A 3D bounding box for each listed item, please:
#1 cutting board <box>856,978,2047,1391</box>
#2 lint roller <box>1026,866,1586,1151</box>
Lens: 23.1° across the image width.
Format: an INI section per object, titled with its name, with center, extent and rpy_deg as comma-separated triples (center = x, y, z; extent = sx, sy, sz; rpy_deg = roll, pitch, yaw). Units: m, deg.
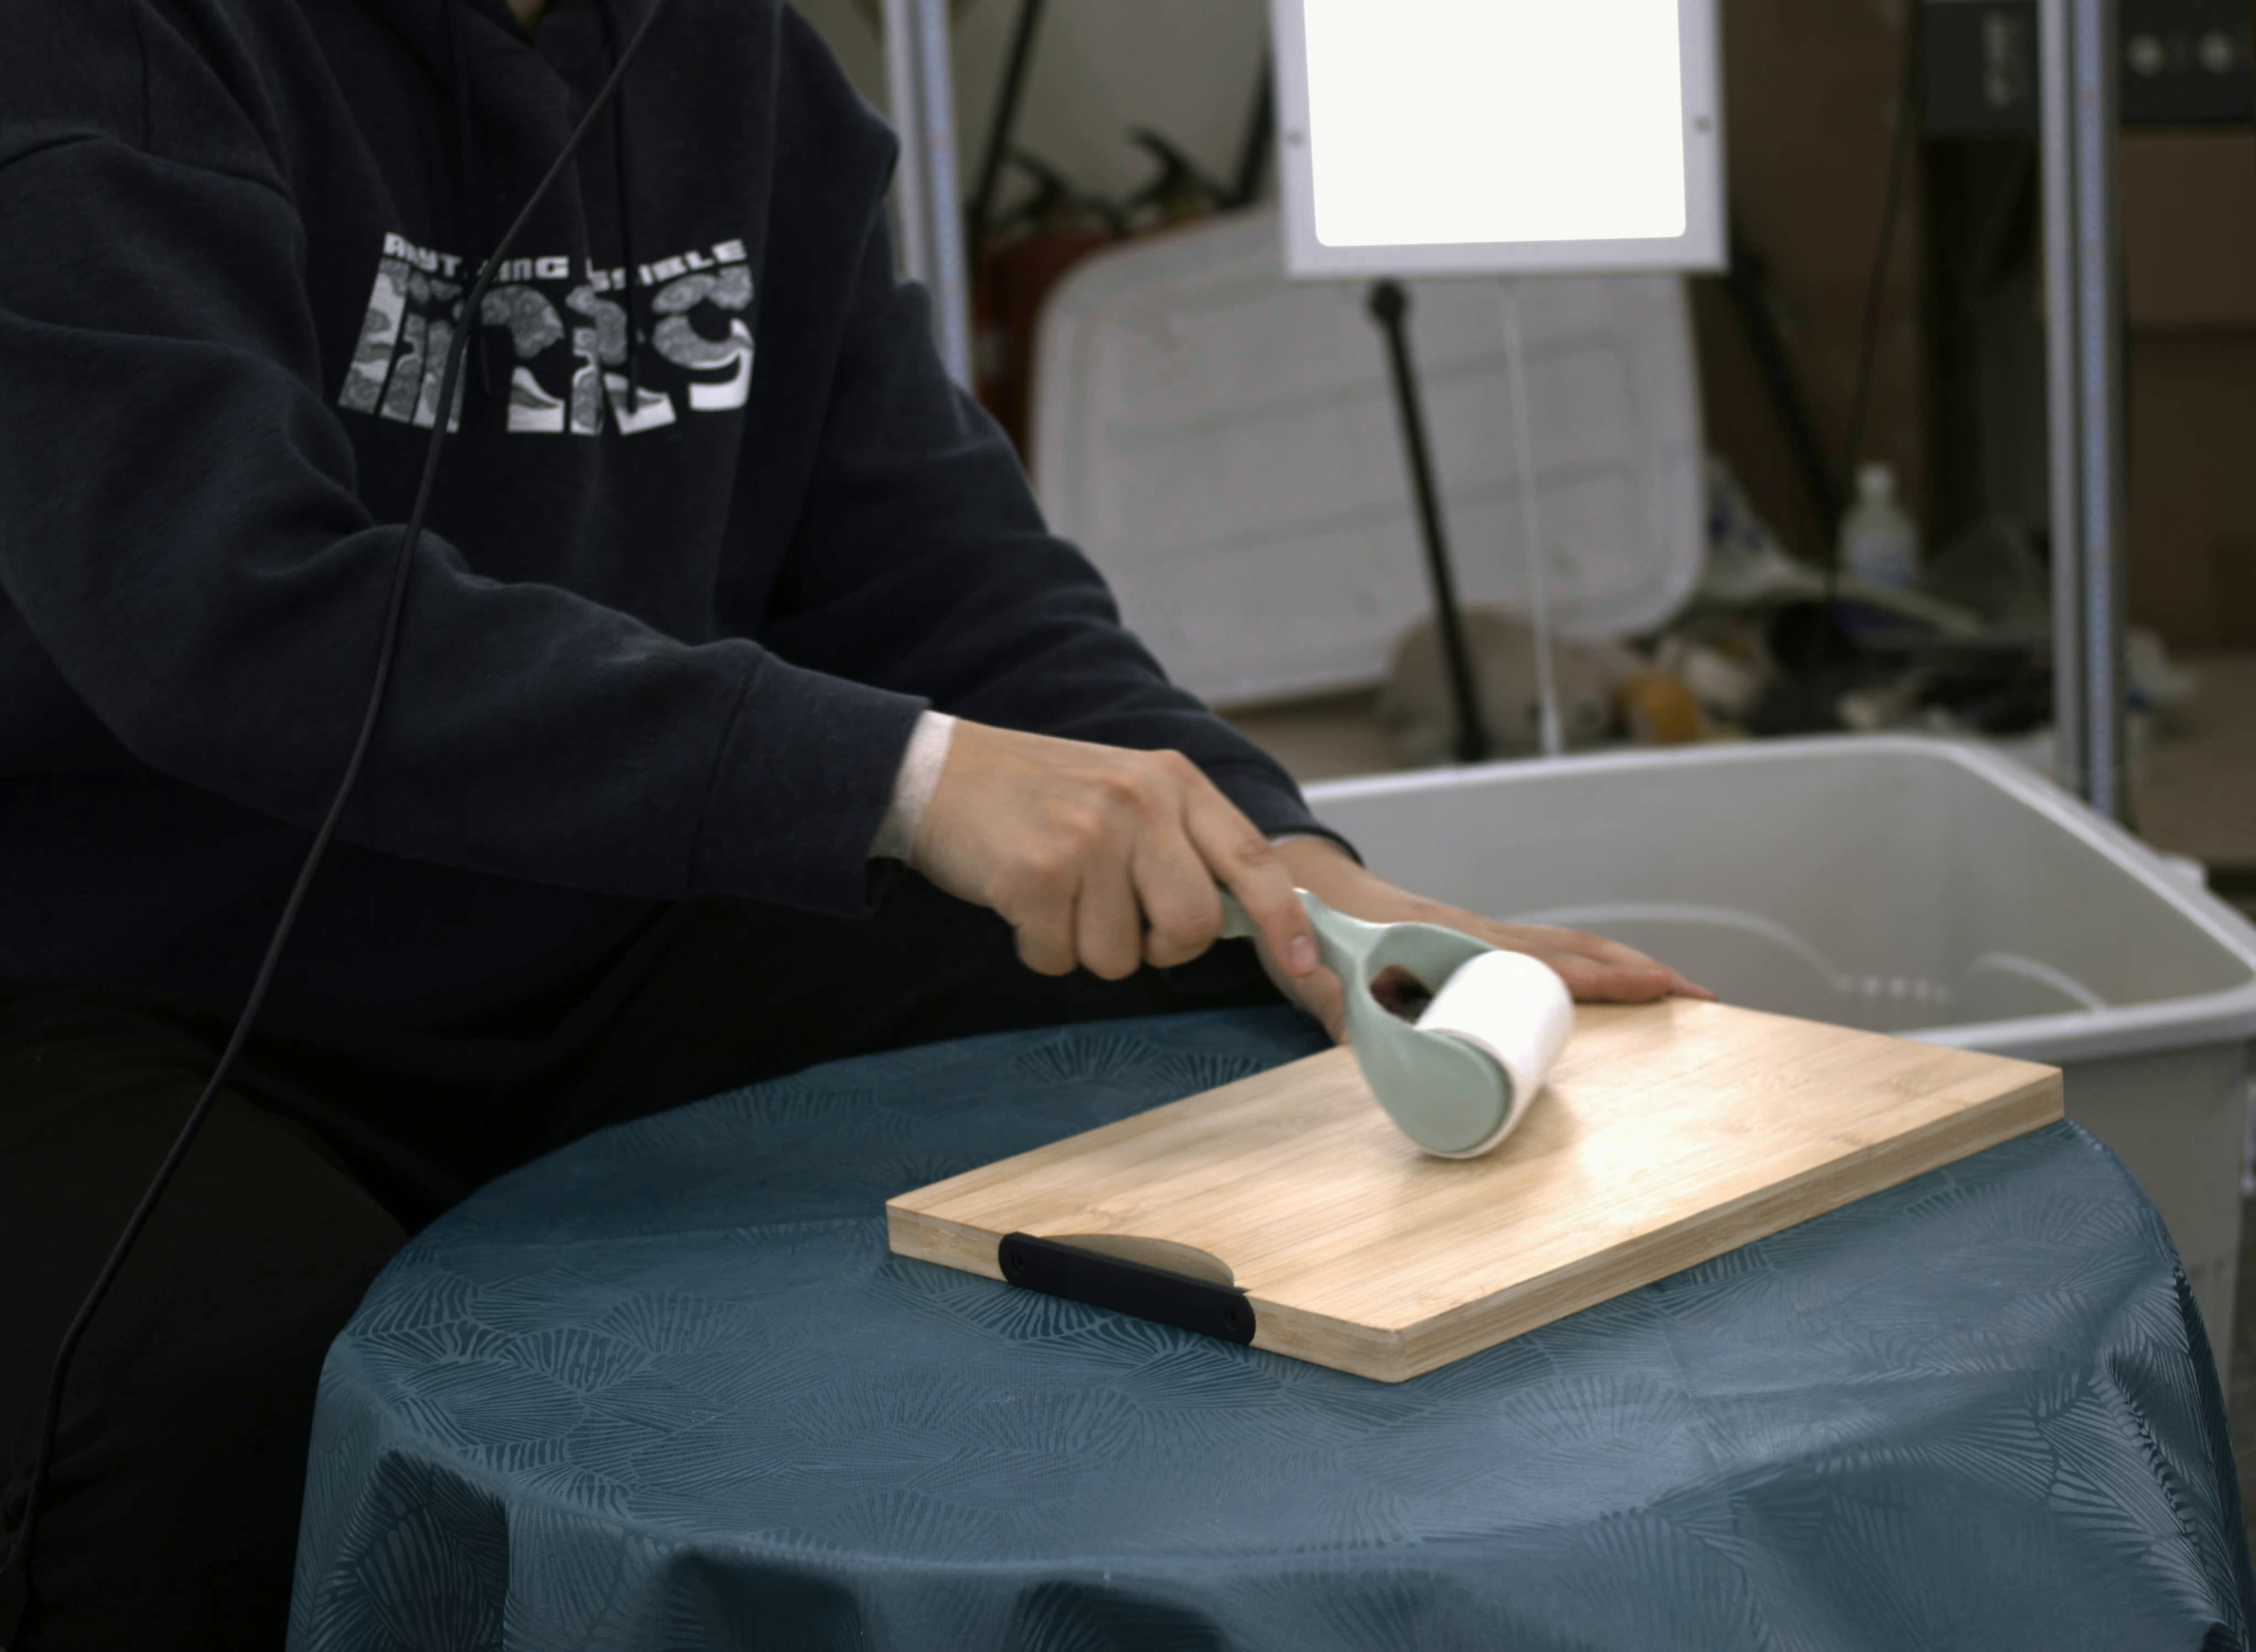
[cutting board]
center = 0.117, 0.115, 1.872
extent = 0.340, 0.023, 0.256
rpy_deg = -17, 17, -40
[lint roller]
center = 0.060, 0.046, 1.905
extent = 0.198, 0.049, 0.115
rpy_deg = 24, 22, 10
